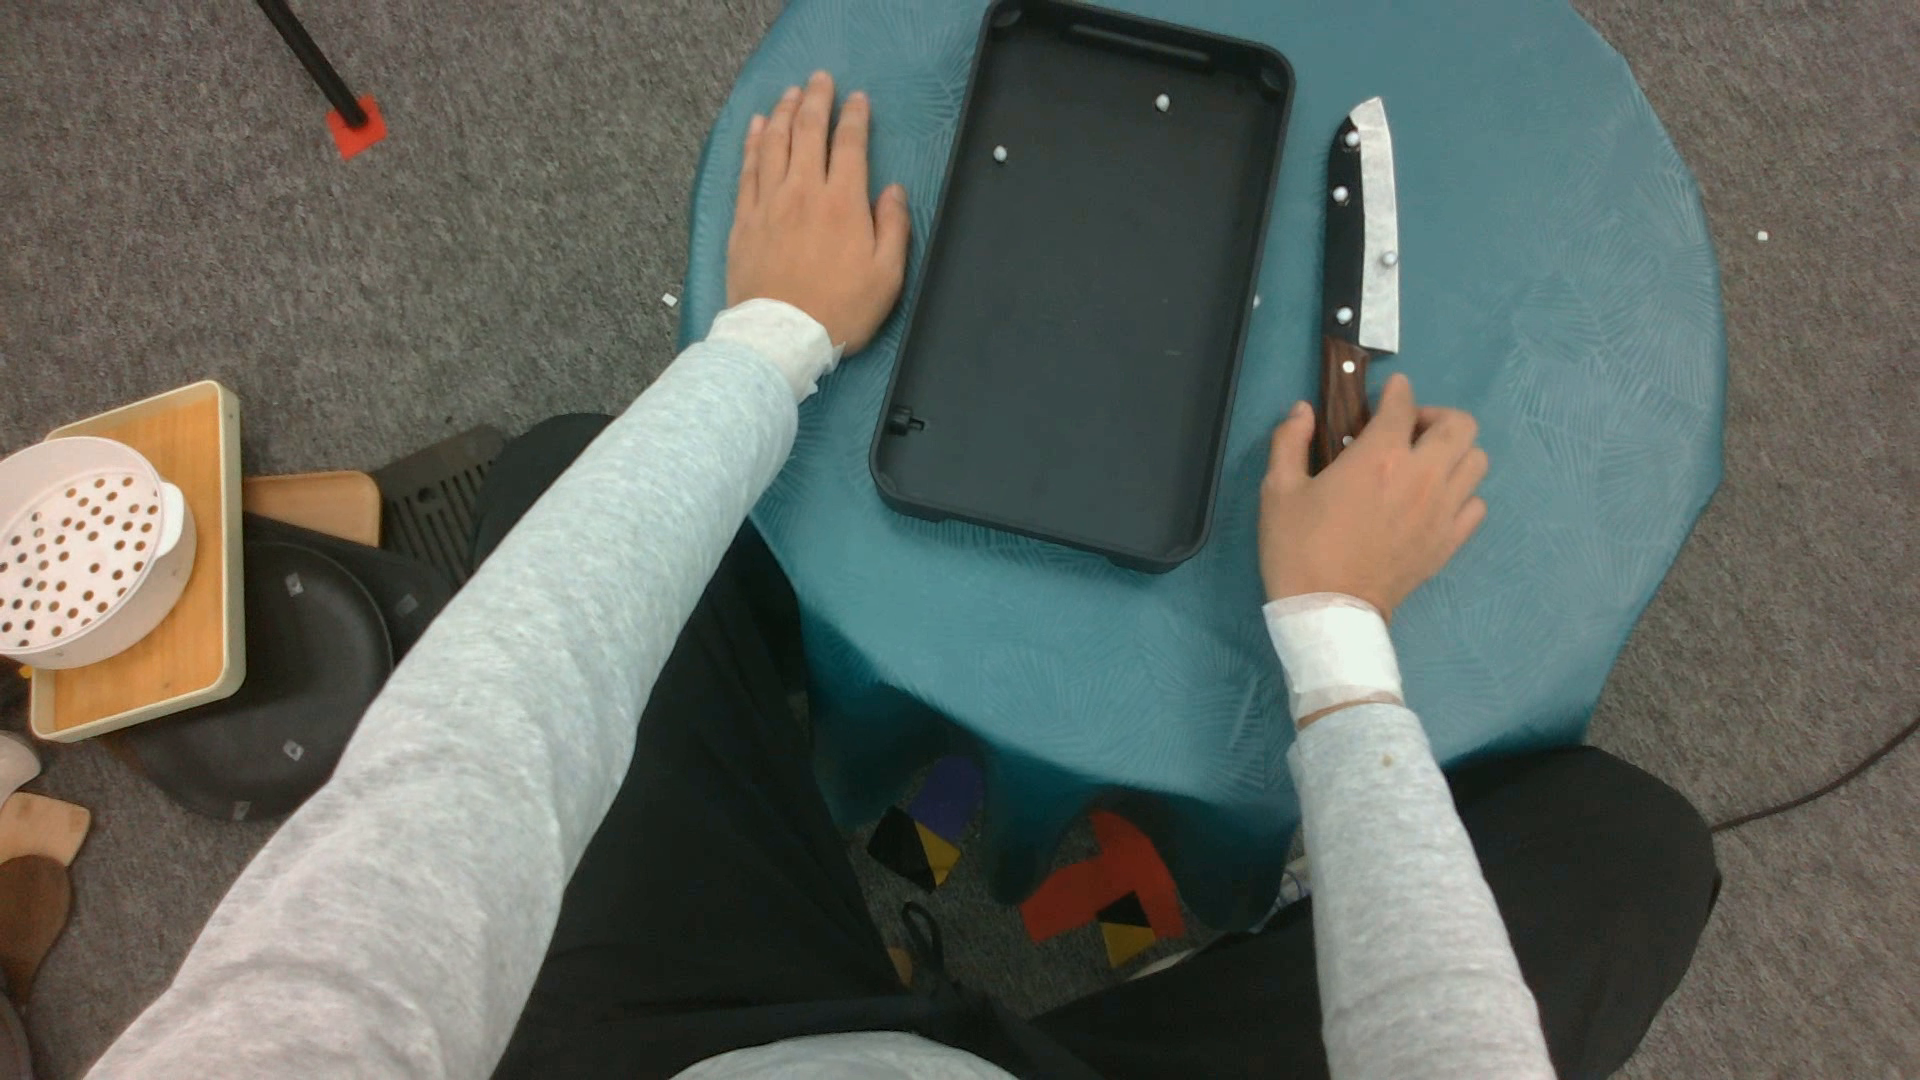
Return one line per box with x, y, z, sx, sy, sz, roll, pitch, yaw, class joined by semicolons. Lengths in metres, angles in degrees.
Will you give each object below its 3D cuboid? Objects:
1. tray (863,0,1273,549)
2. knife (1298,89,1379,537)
0.064;-0.160;0.771;0.184;0.037;0.319;11;74;0;tray
0.216;-0.137;0.785;0.050;0.020;0.290;10;71;-6;knife
